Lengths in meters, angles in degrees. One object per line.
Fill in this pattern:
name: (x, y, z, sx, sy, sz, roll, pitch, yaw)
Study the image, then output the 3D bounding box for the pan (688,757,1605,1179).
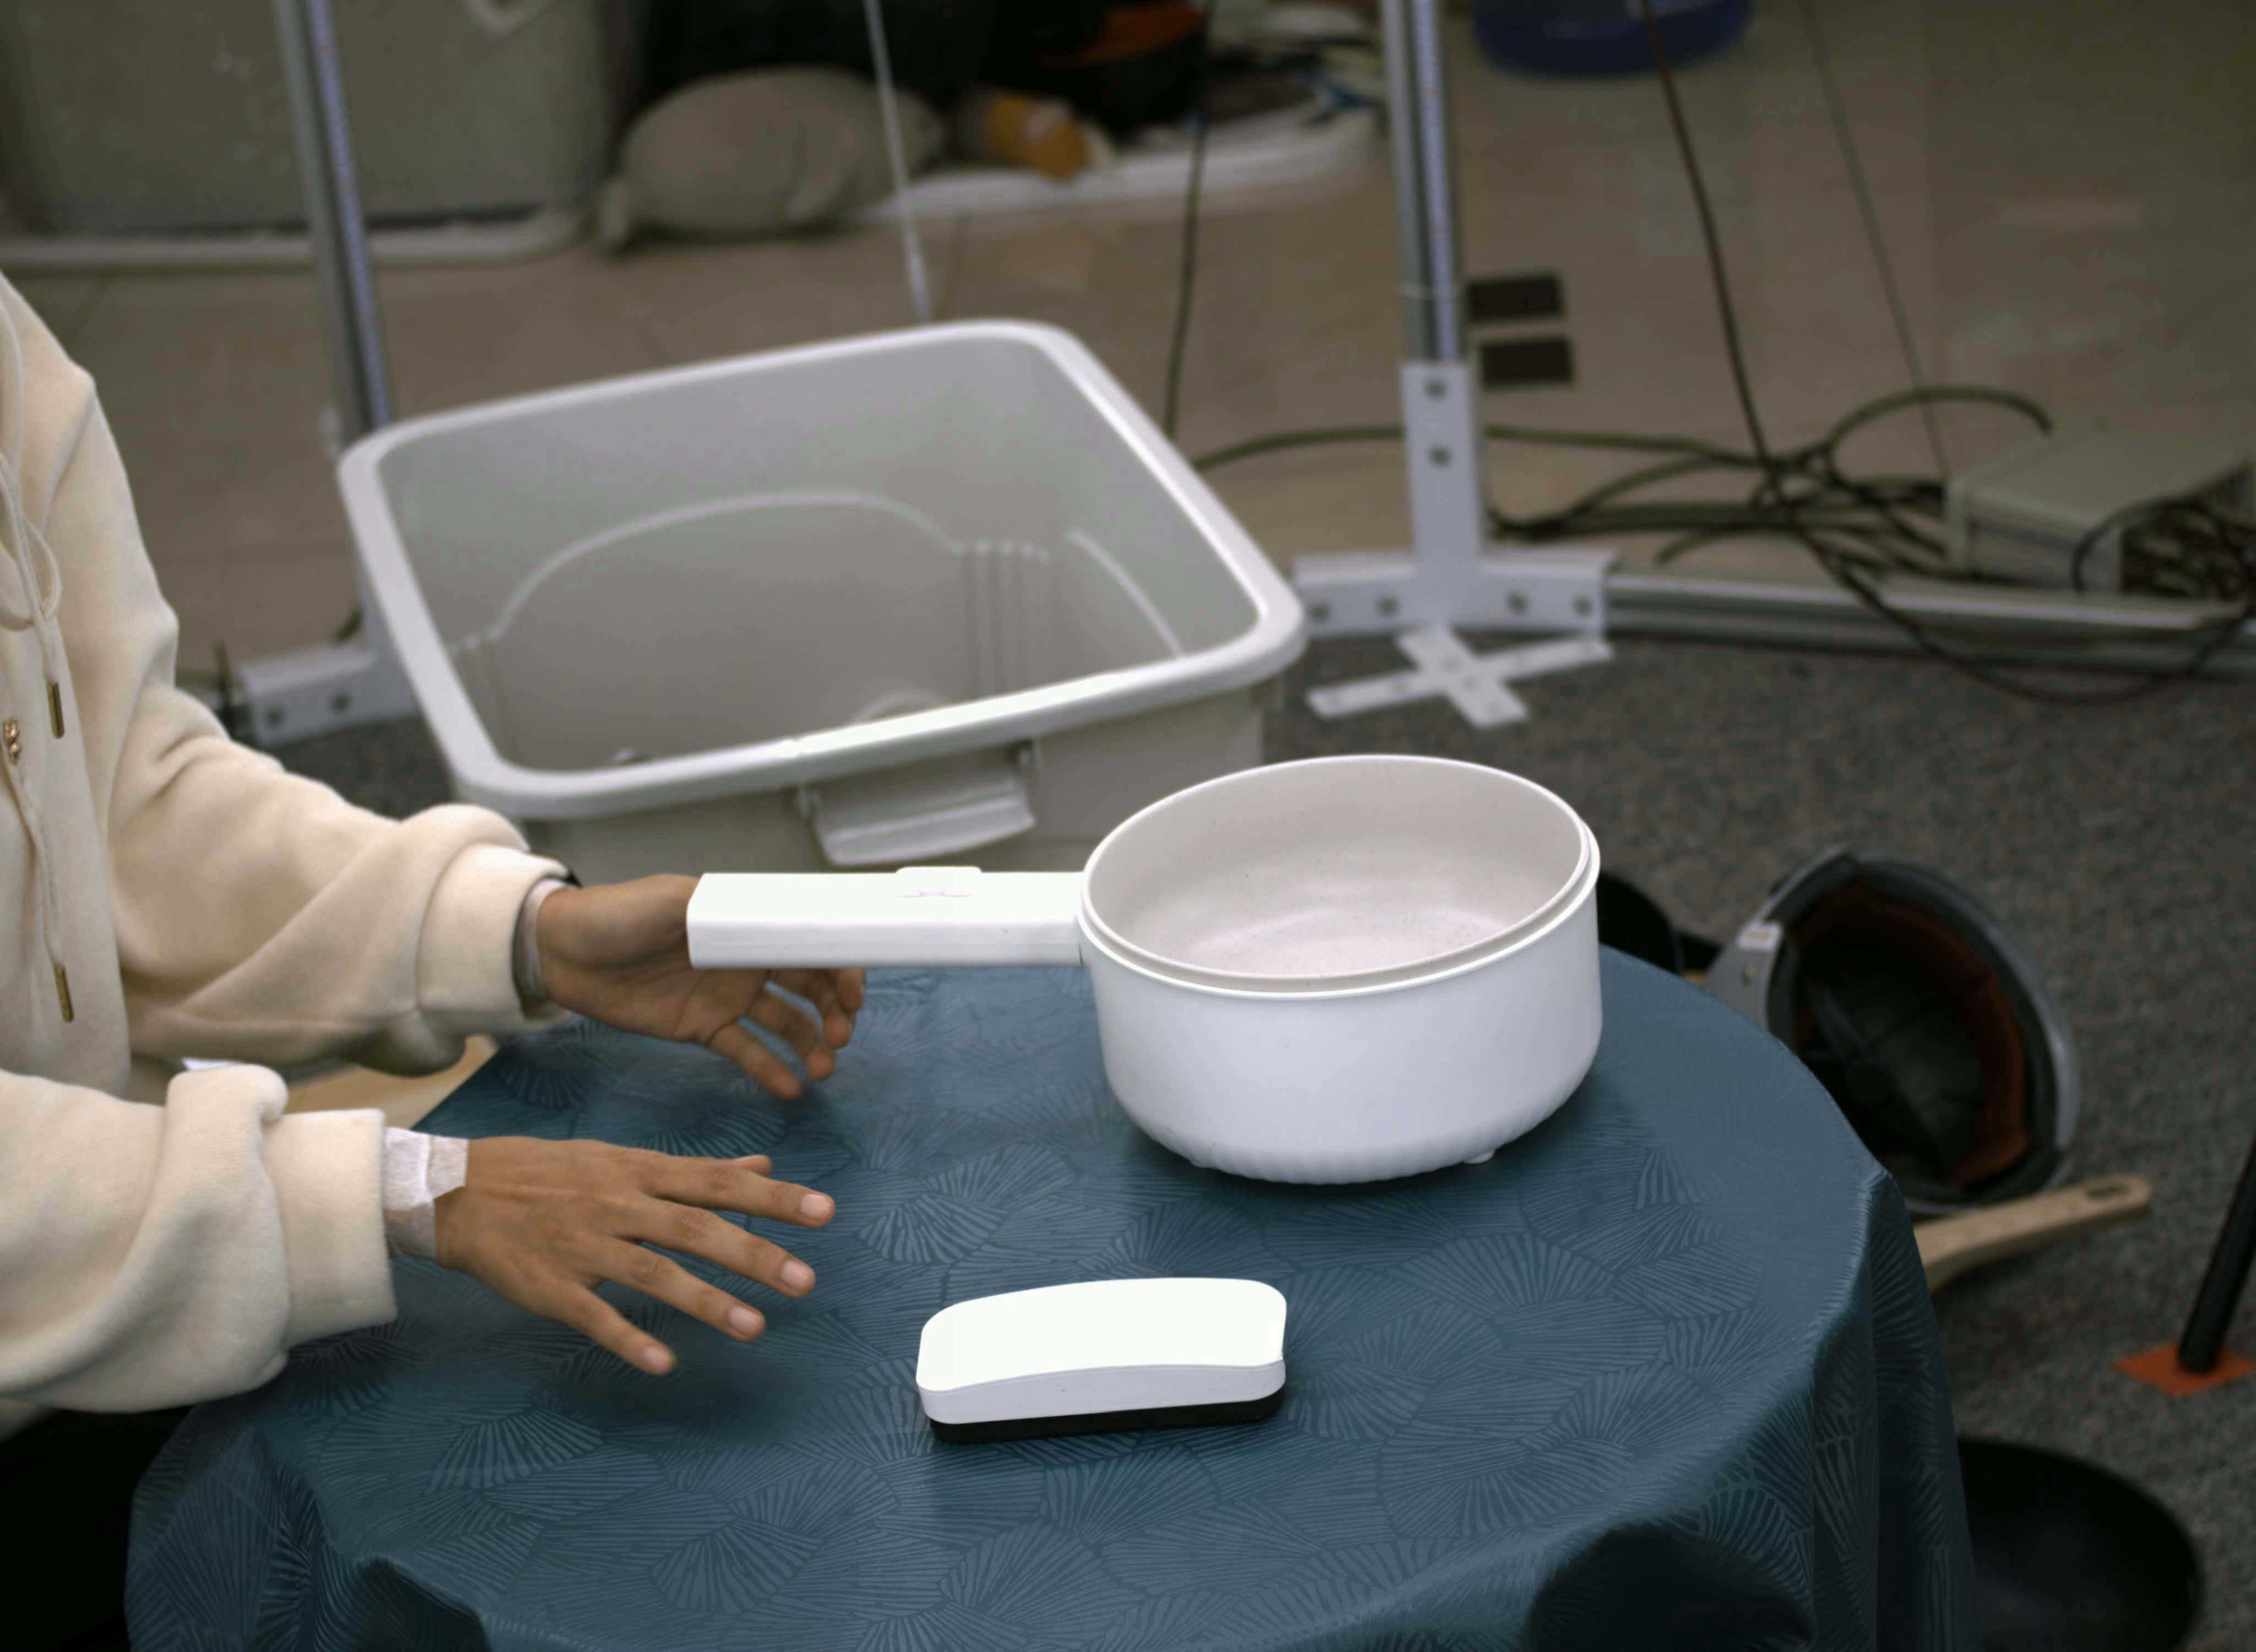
pan: (0.009, 0.063, 2.191, 0.354, 0.103, 0.198, -4, 24, 12)

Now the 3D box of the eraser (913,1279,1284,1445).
eraser: (-0.010, 0.189, 2.008, 0.131, 0.035, 0.062, -4, 23, 4)
